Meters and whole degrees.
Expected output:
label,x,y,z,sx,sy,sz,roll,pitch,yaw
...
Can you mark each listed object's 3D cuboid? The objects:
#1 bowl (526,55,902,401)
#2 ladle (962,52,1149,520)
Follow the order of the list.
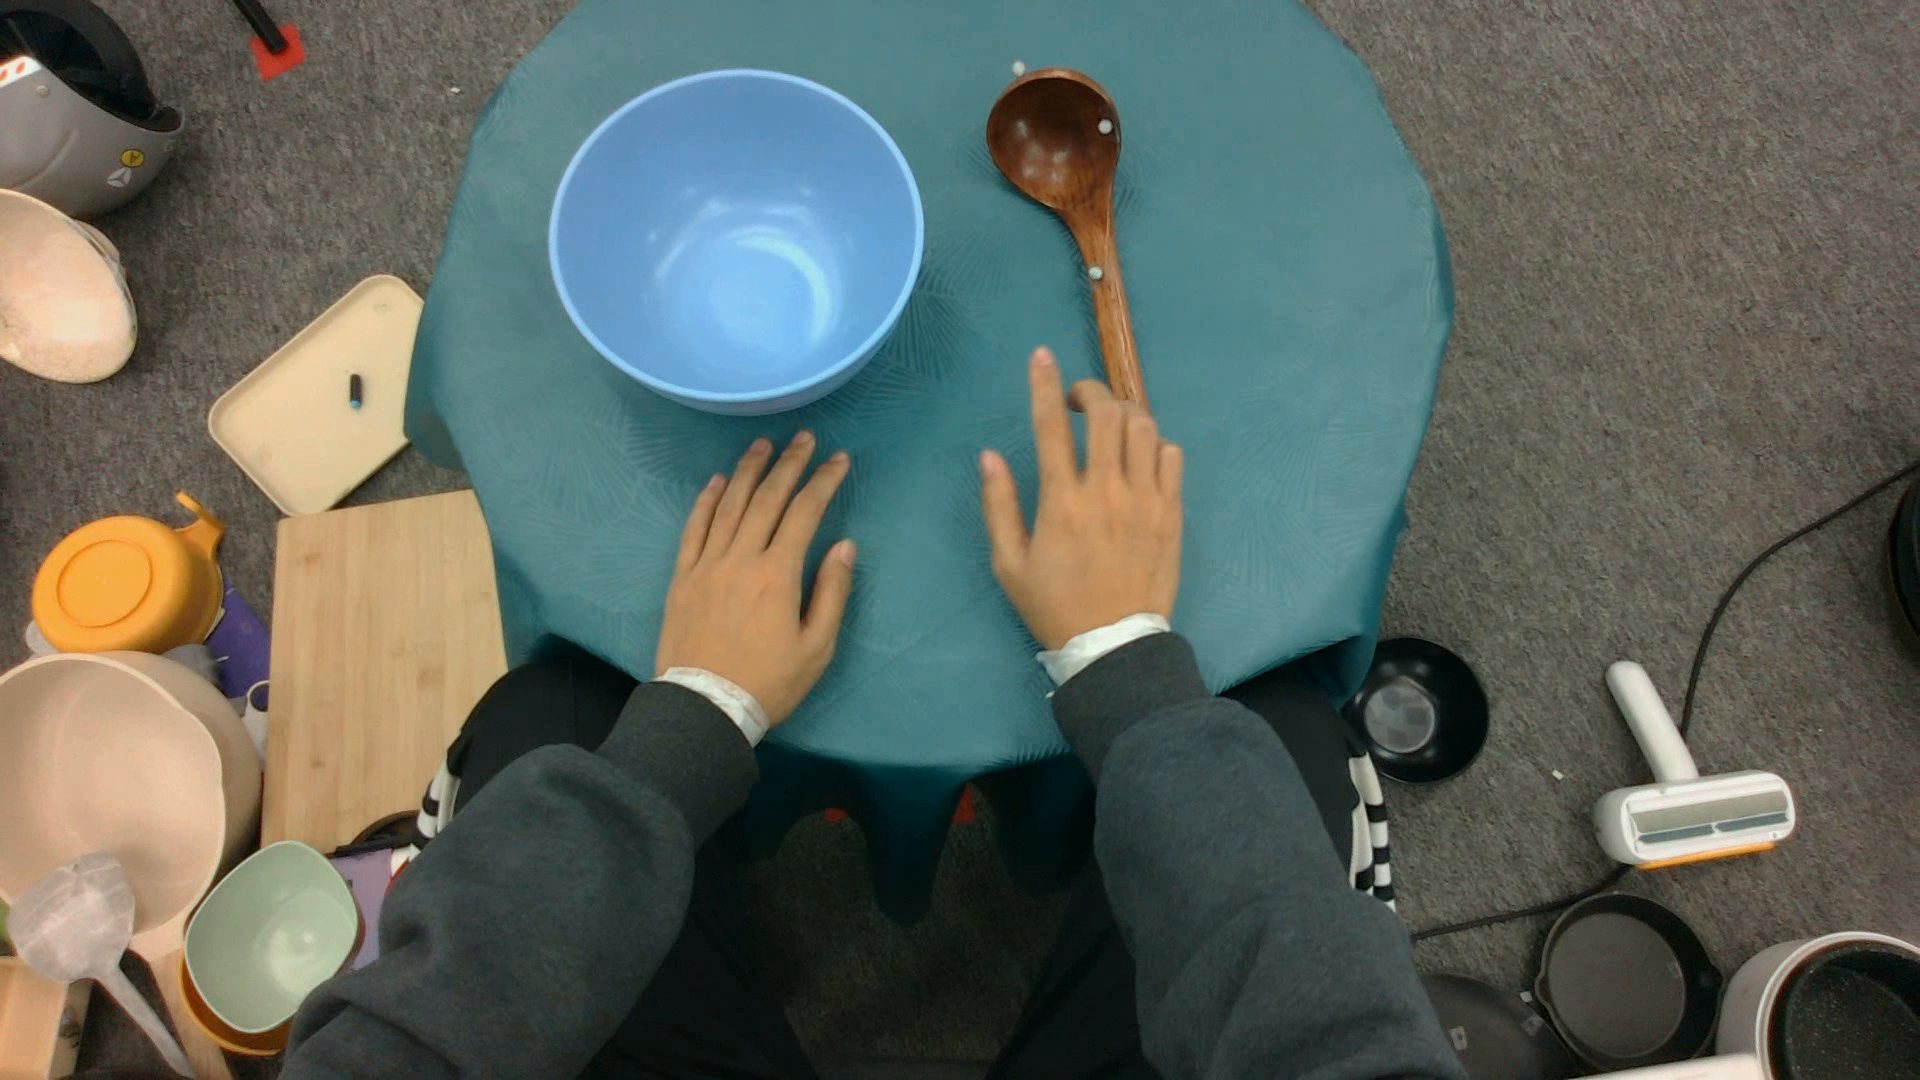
label,x,y,z,sx,sy,sz,roll,pitch,yaw
bowl,-0.131,-0.159,0.768,0.196,0.095,0.197,1,73,-3
ladle,0.060,-0.148,0.784,0.081,0.077,0.274,-20,71,33
